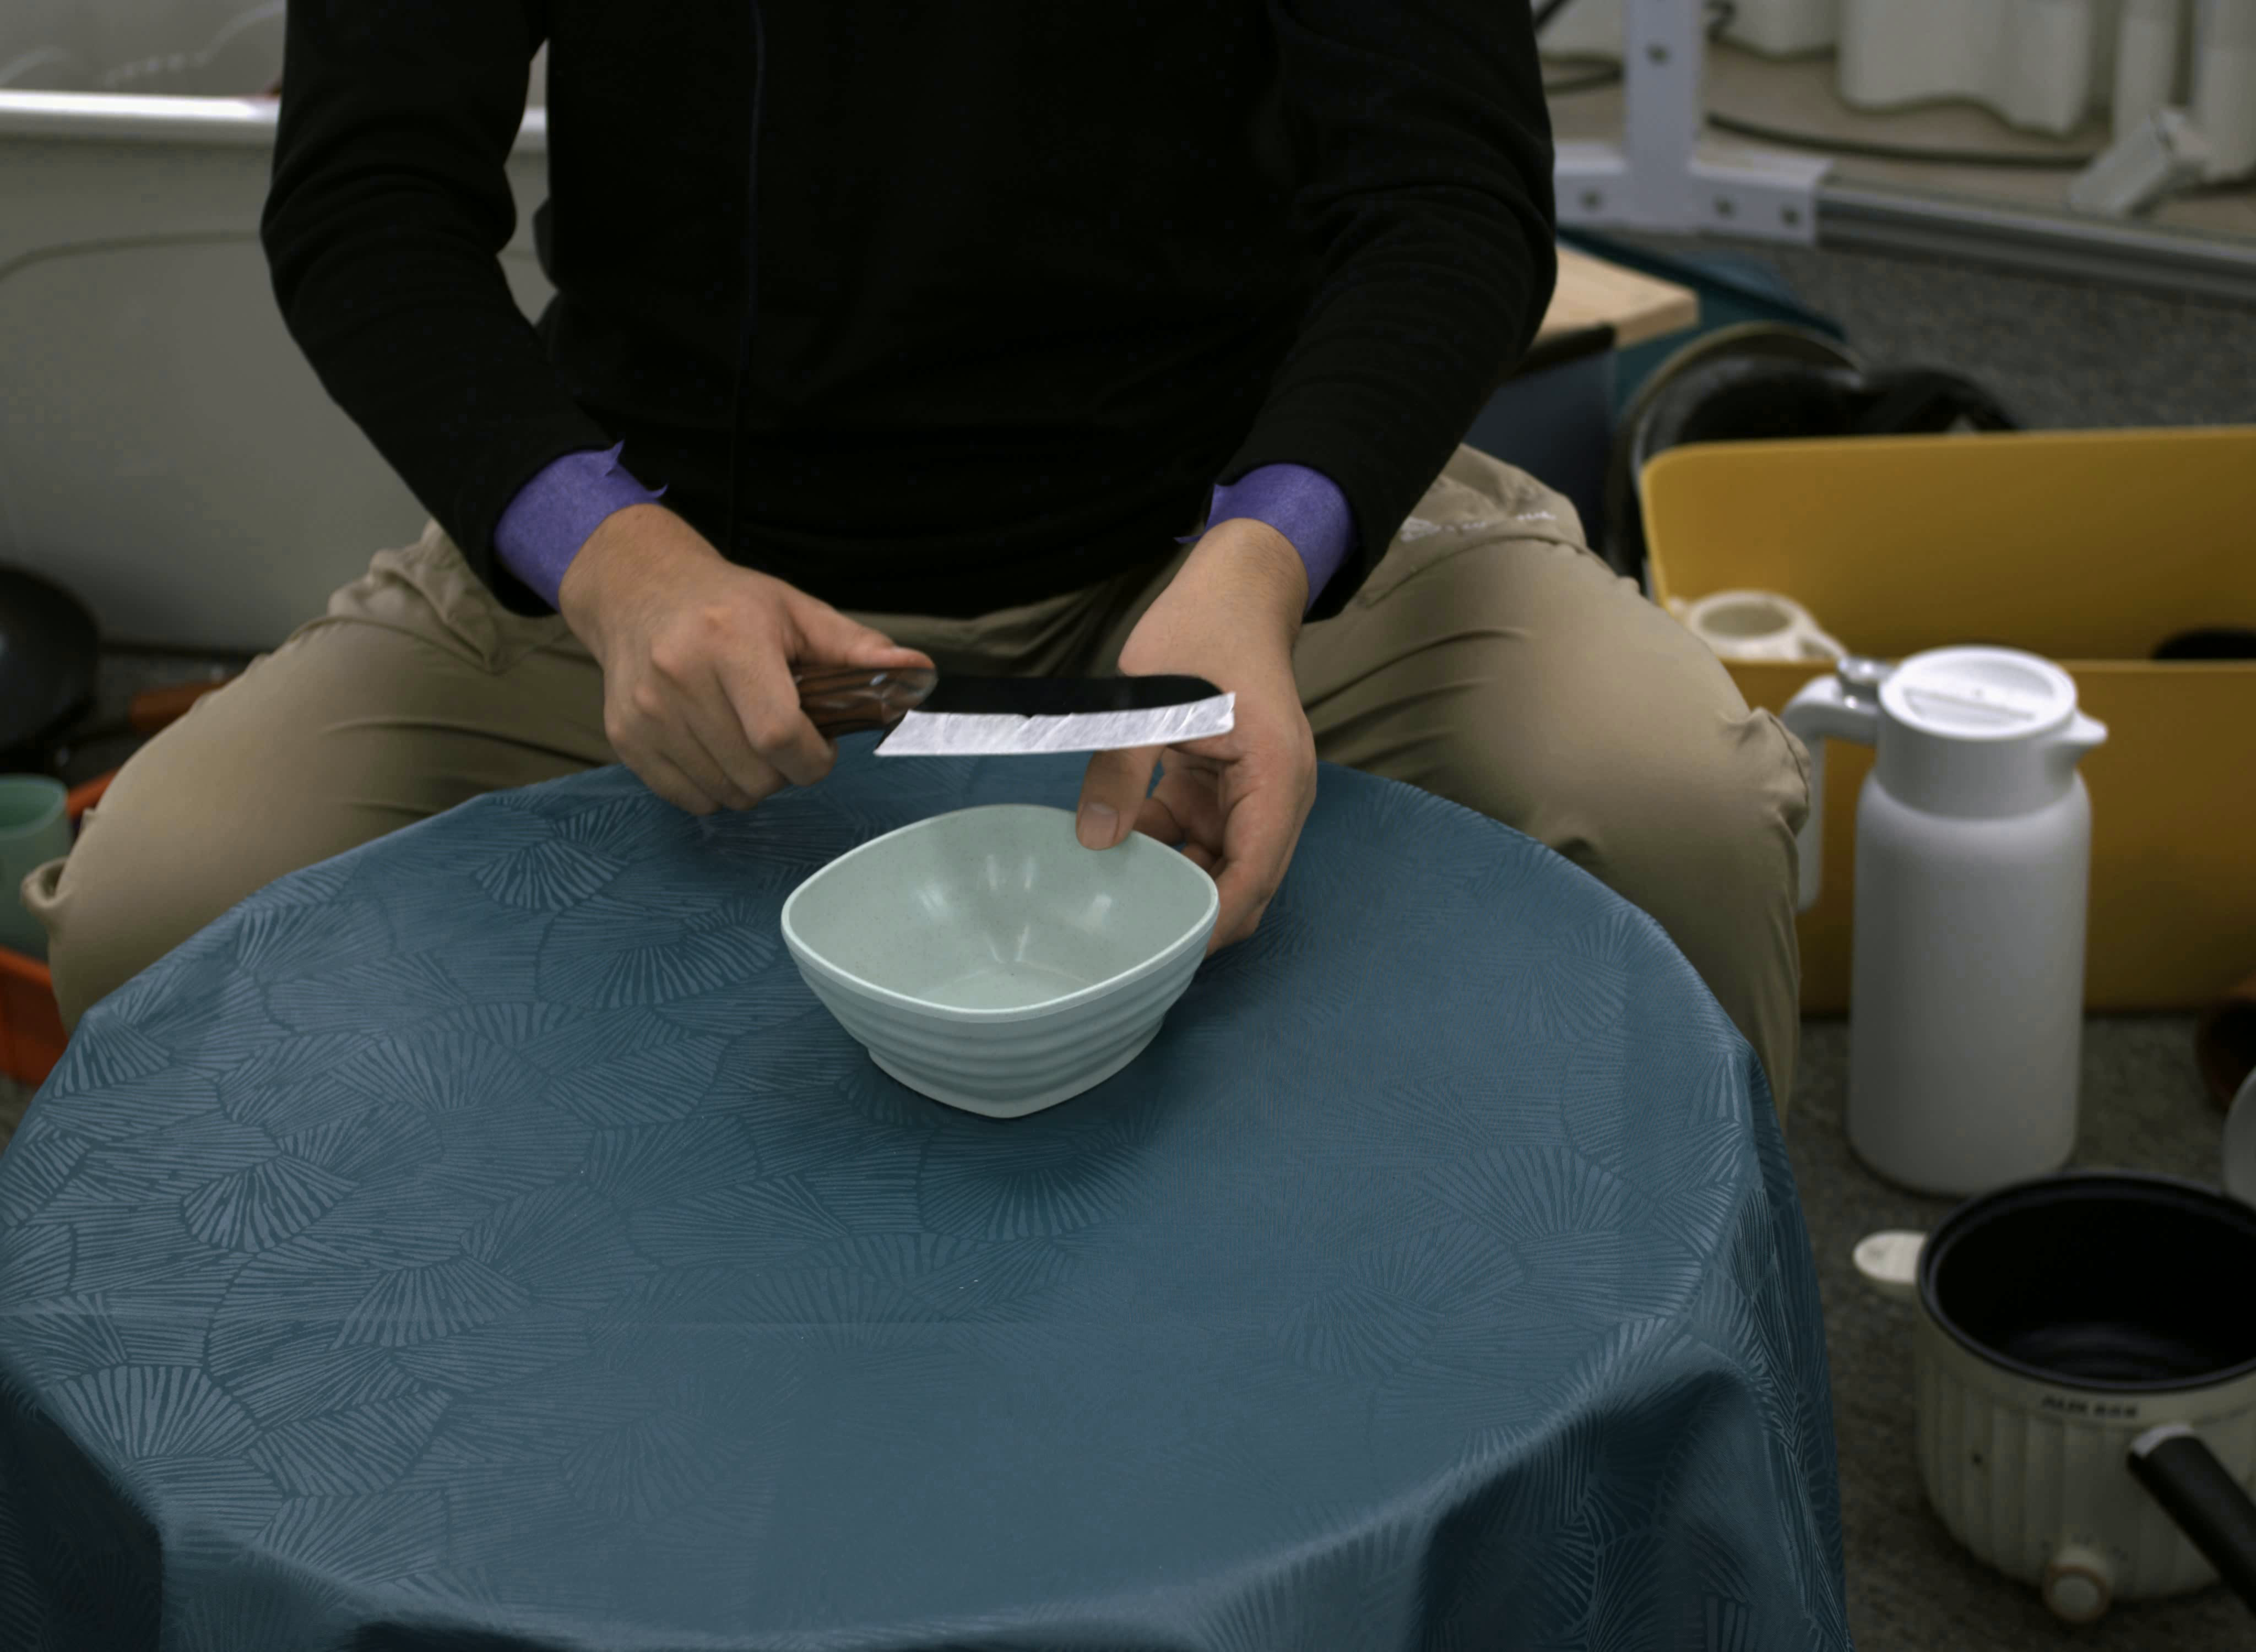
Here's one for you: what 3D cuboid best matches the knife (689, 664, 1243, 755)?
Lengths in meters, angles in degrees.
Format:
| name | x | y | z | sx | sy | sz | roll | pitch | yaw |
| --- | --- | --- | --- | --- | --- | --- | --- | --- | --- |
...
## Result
| name | x | y | z | sx | sy | sz | roll | pitch | yaw |
| --- | --- | --- | --- | --- | --- | --- | --- | --- | --- |
| knife | -0.060 | -0.041 | 1.989 | 0.286 | 0.020 | 0.051 | 2 | 41 | 46 |

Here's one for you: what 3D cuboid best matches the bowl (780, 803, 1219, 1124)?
| name | x | y | z | sx | sy | sz | roll | pitch | yaw |
| --- | --- | --- | --- | --- | --- | --- | --- | --- | --- |
| bowl | -0.043 | 0.053 | 1.936 | 0.151 | 0.058 | 0.154 | -1 | 28 | 1 |
